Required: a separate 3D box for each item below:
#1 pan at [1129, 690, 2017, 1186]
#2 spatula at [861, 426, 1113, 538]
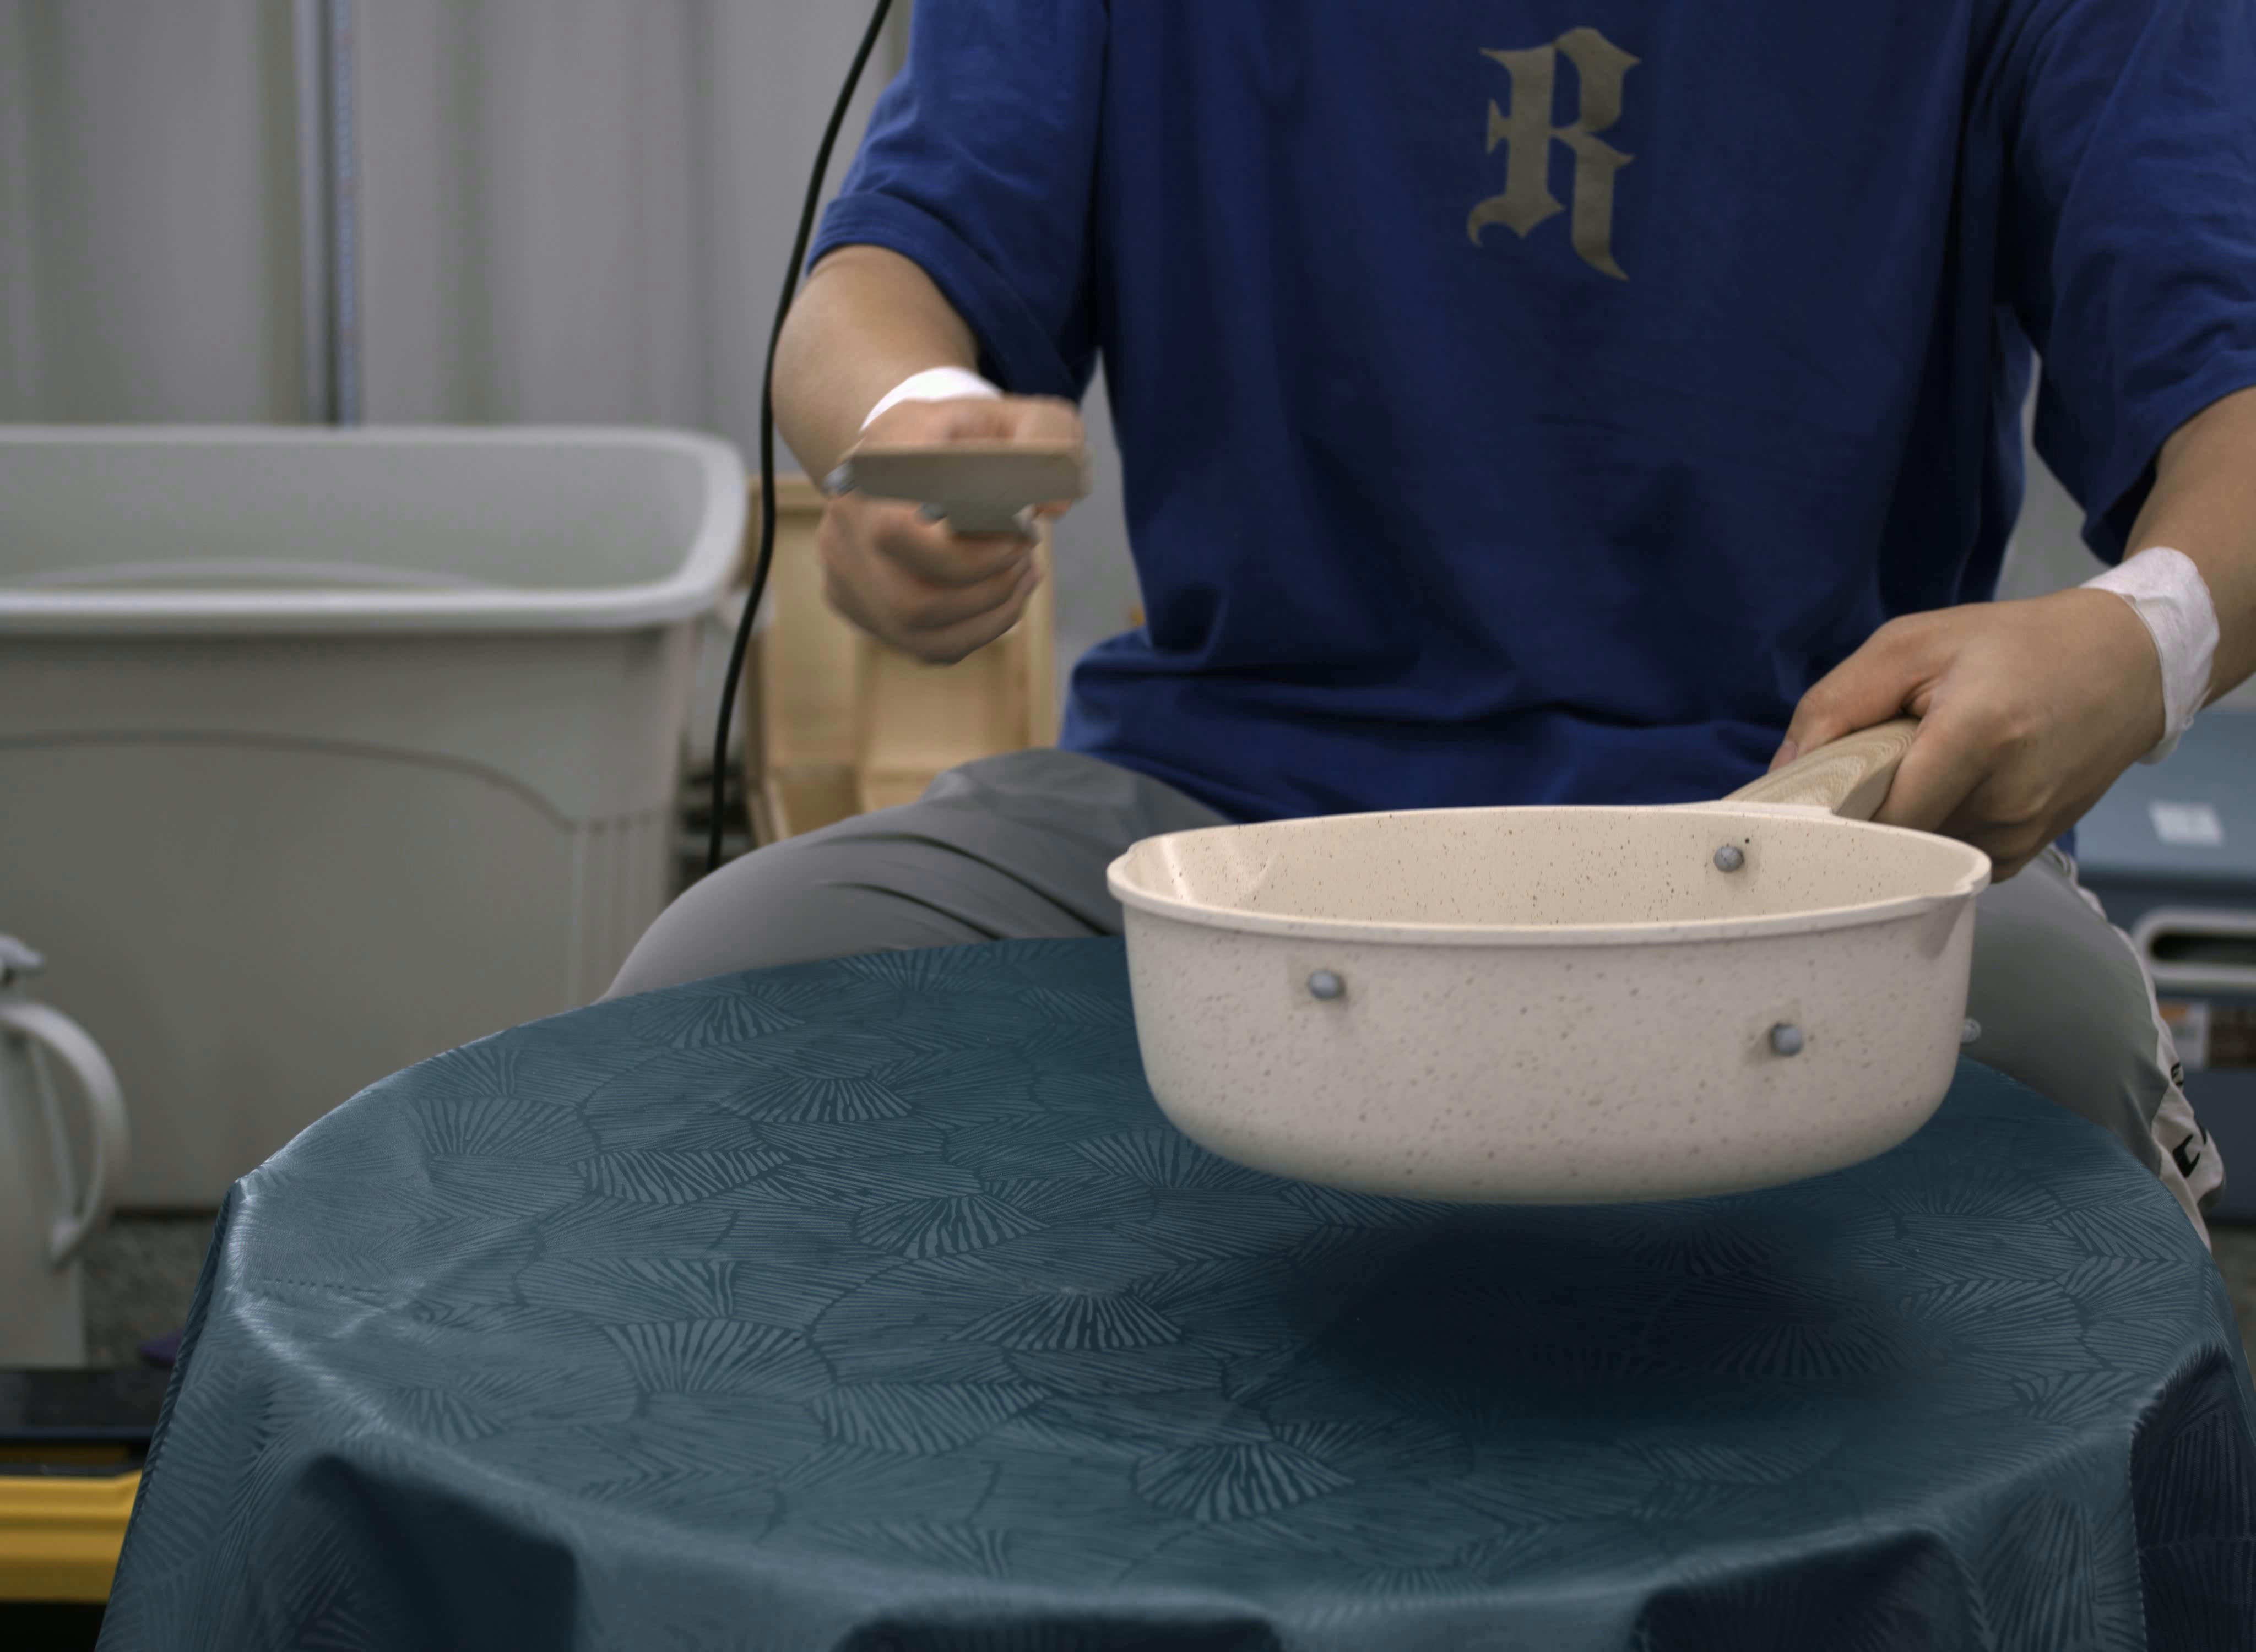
[{"bbox_3d":[0.174,0.029,1.576,0.260,0.102,0.437,2,7,31],"label":"pan"},{"bbox_3d":[-0.040,-0.104,1.627,0.072,0.011,0.293,-1,-2,0],"label":"spatula"}]
